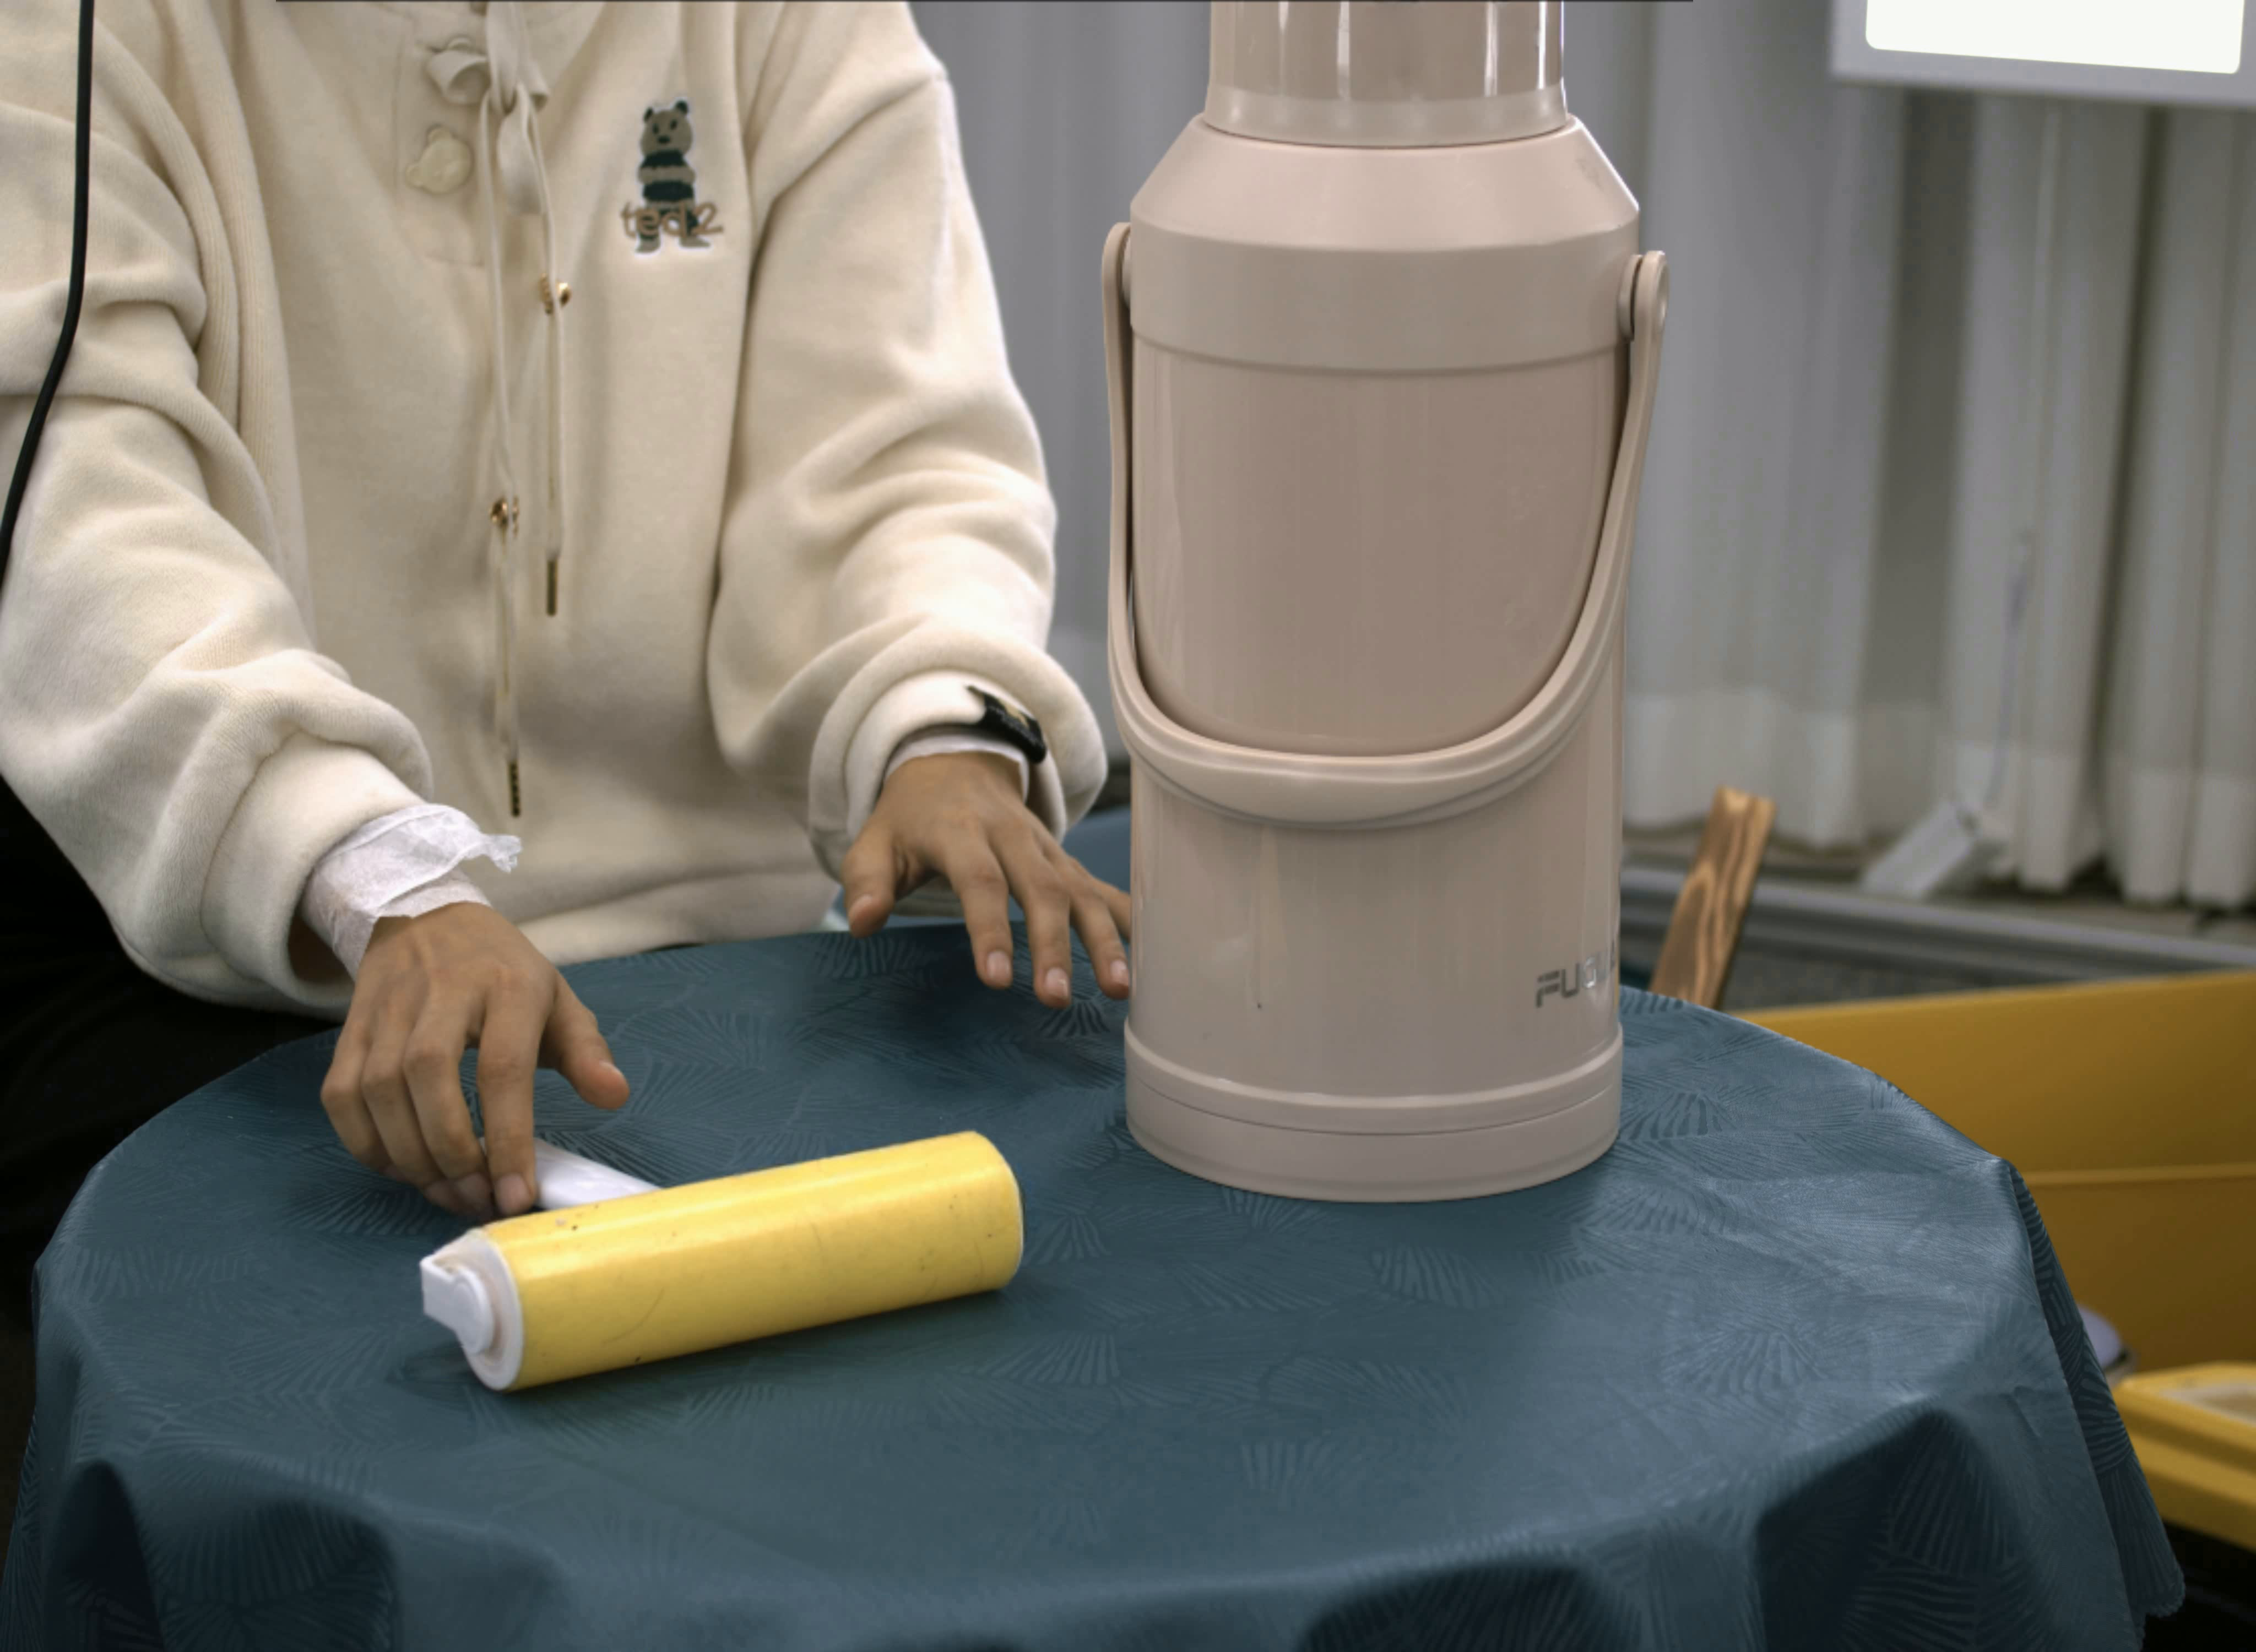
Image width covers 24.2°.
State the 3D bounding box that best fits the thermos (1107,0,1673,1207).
[{"bbox_3d":[0.084,-0.099,1.641,0.174,0.409,0.207,5,17,17],"label":"thermos"}]

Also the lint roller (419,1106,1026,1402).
[{"bbox_3d":[-0.148,0.104,1.546,0.175,0.052,0.189,-9,25,-32],"label":"lint roller"}]
